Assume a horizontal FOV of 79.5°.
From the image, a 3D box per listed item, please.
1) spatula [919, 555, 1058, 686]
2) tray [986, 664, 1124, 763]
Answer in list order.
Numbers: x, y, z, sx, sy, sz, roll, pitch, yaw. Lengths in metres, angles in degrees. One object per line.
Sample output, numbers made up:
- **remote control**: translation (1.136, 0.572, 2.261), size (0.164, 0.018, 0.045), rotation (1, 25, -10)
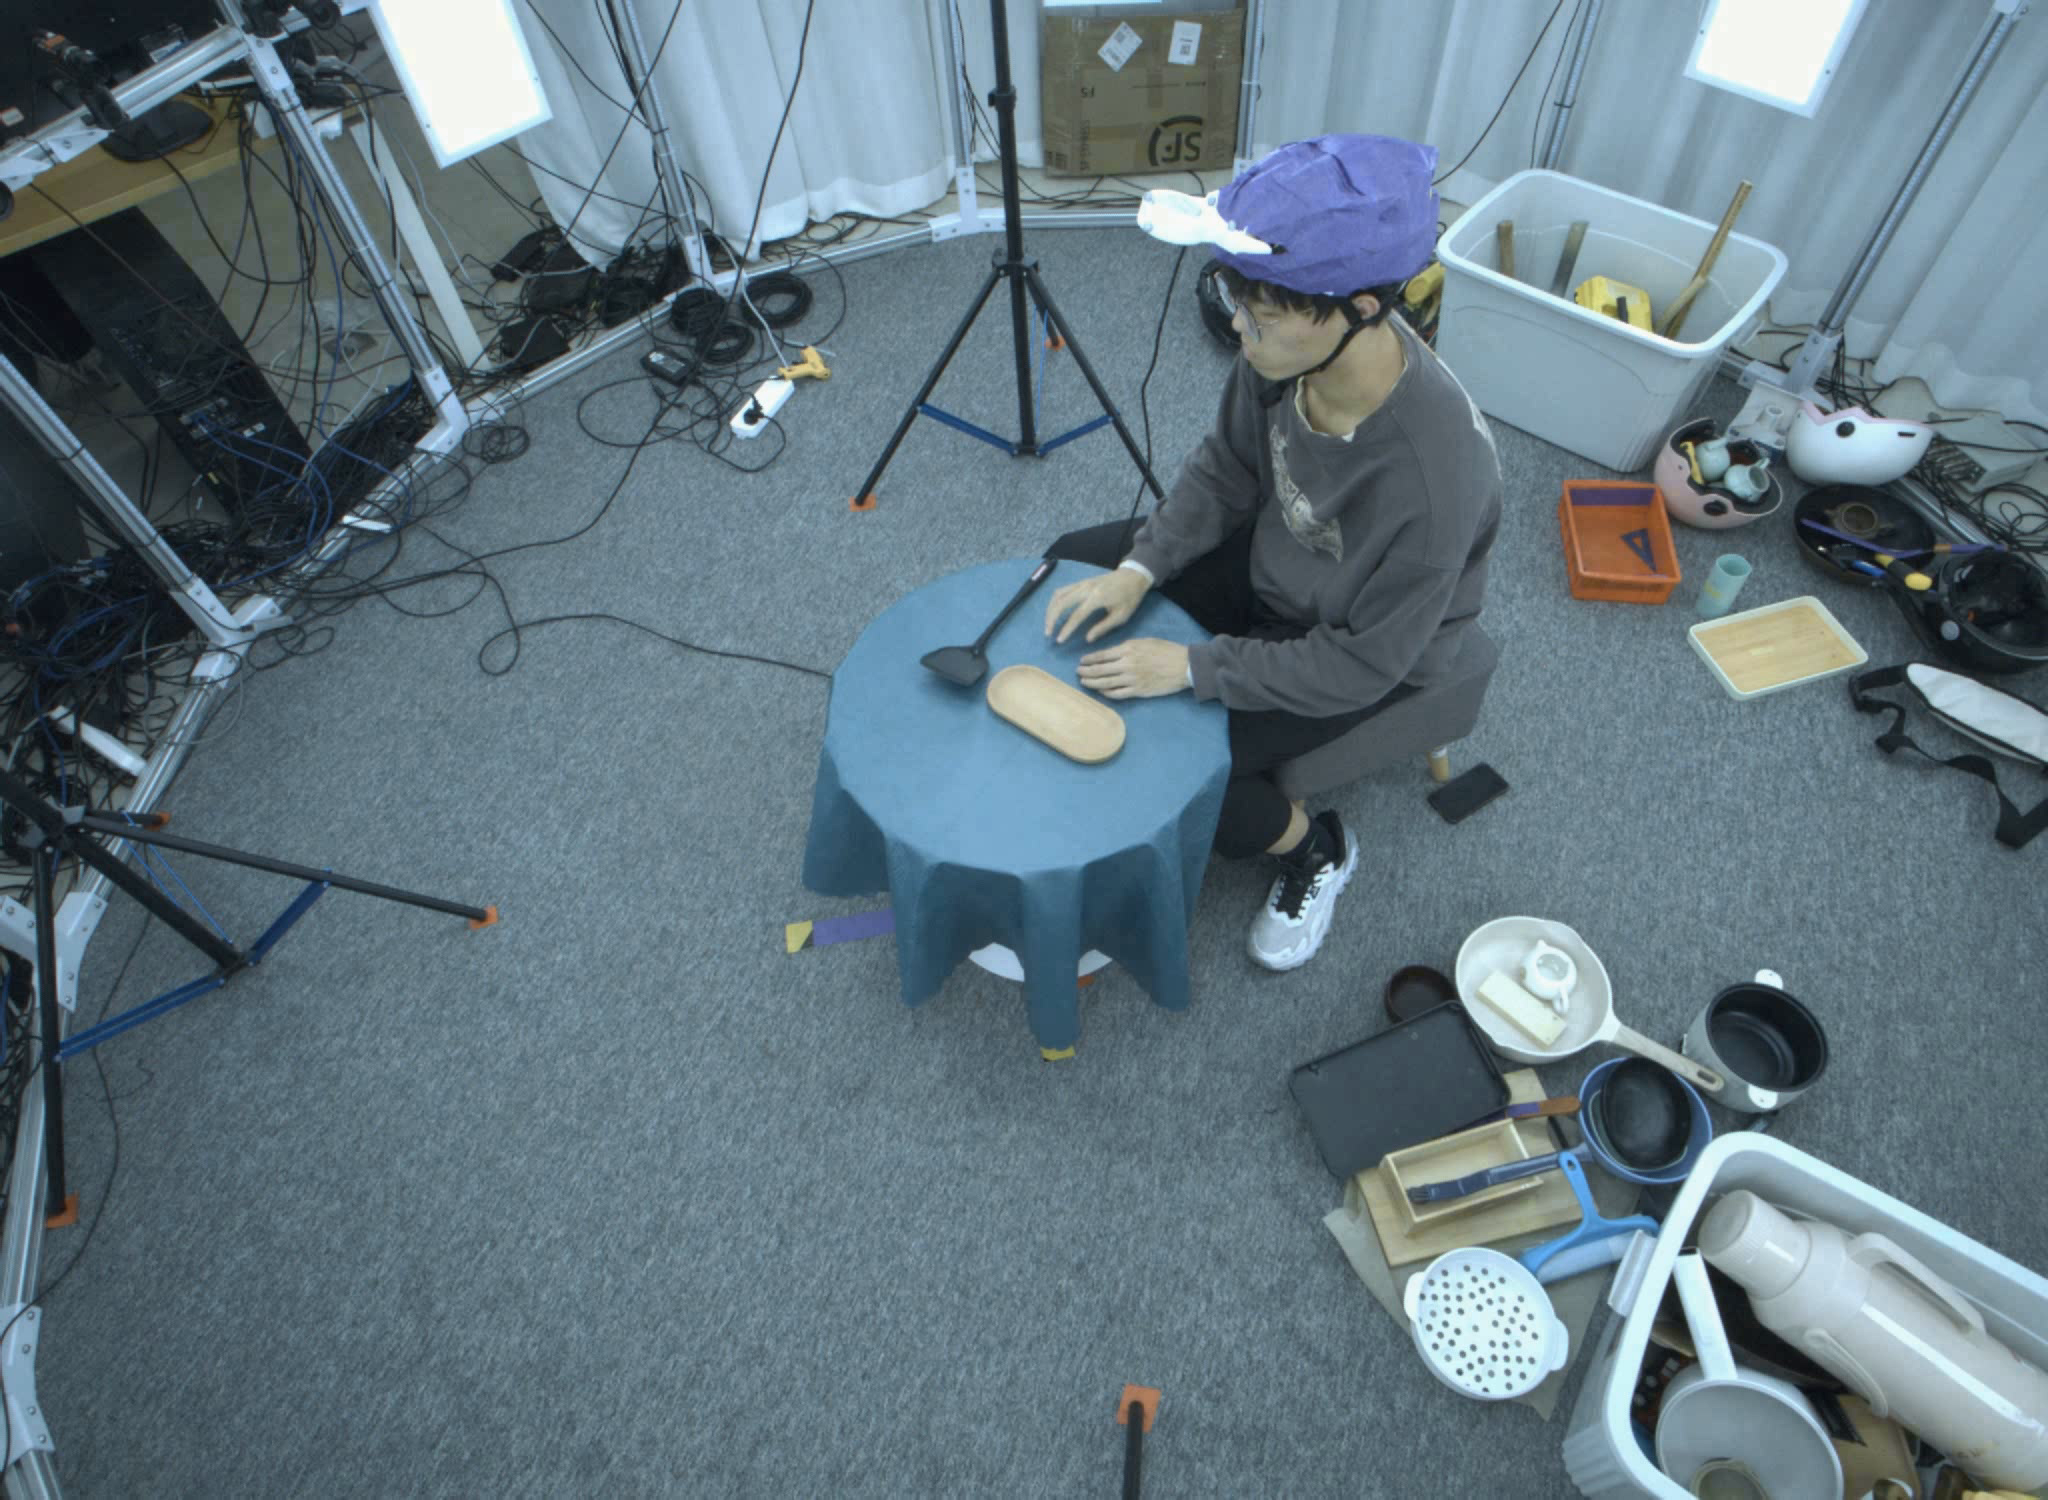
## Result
- **spatula**: translation (-0.036, -0.213, 1.917), size (0.098, 0.041, 0.327), rotation (27, 59, 19)
- **tray**: translation (0.044, -0.055, 1.813), size (0.227, 0.020, 0.102), rotation (31, 60, 23)
